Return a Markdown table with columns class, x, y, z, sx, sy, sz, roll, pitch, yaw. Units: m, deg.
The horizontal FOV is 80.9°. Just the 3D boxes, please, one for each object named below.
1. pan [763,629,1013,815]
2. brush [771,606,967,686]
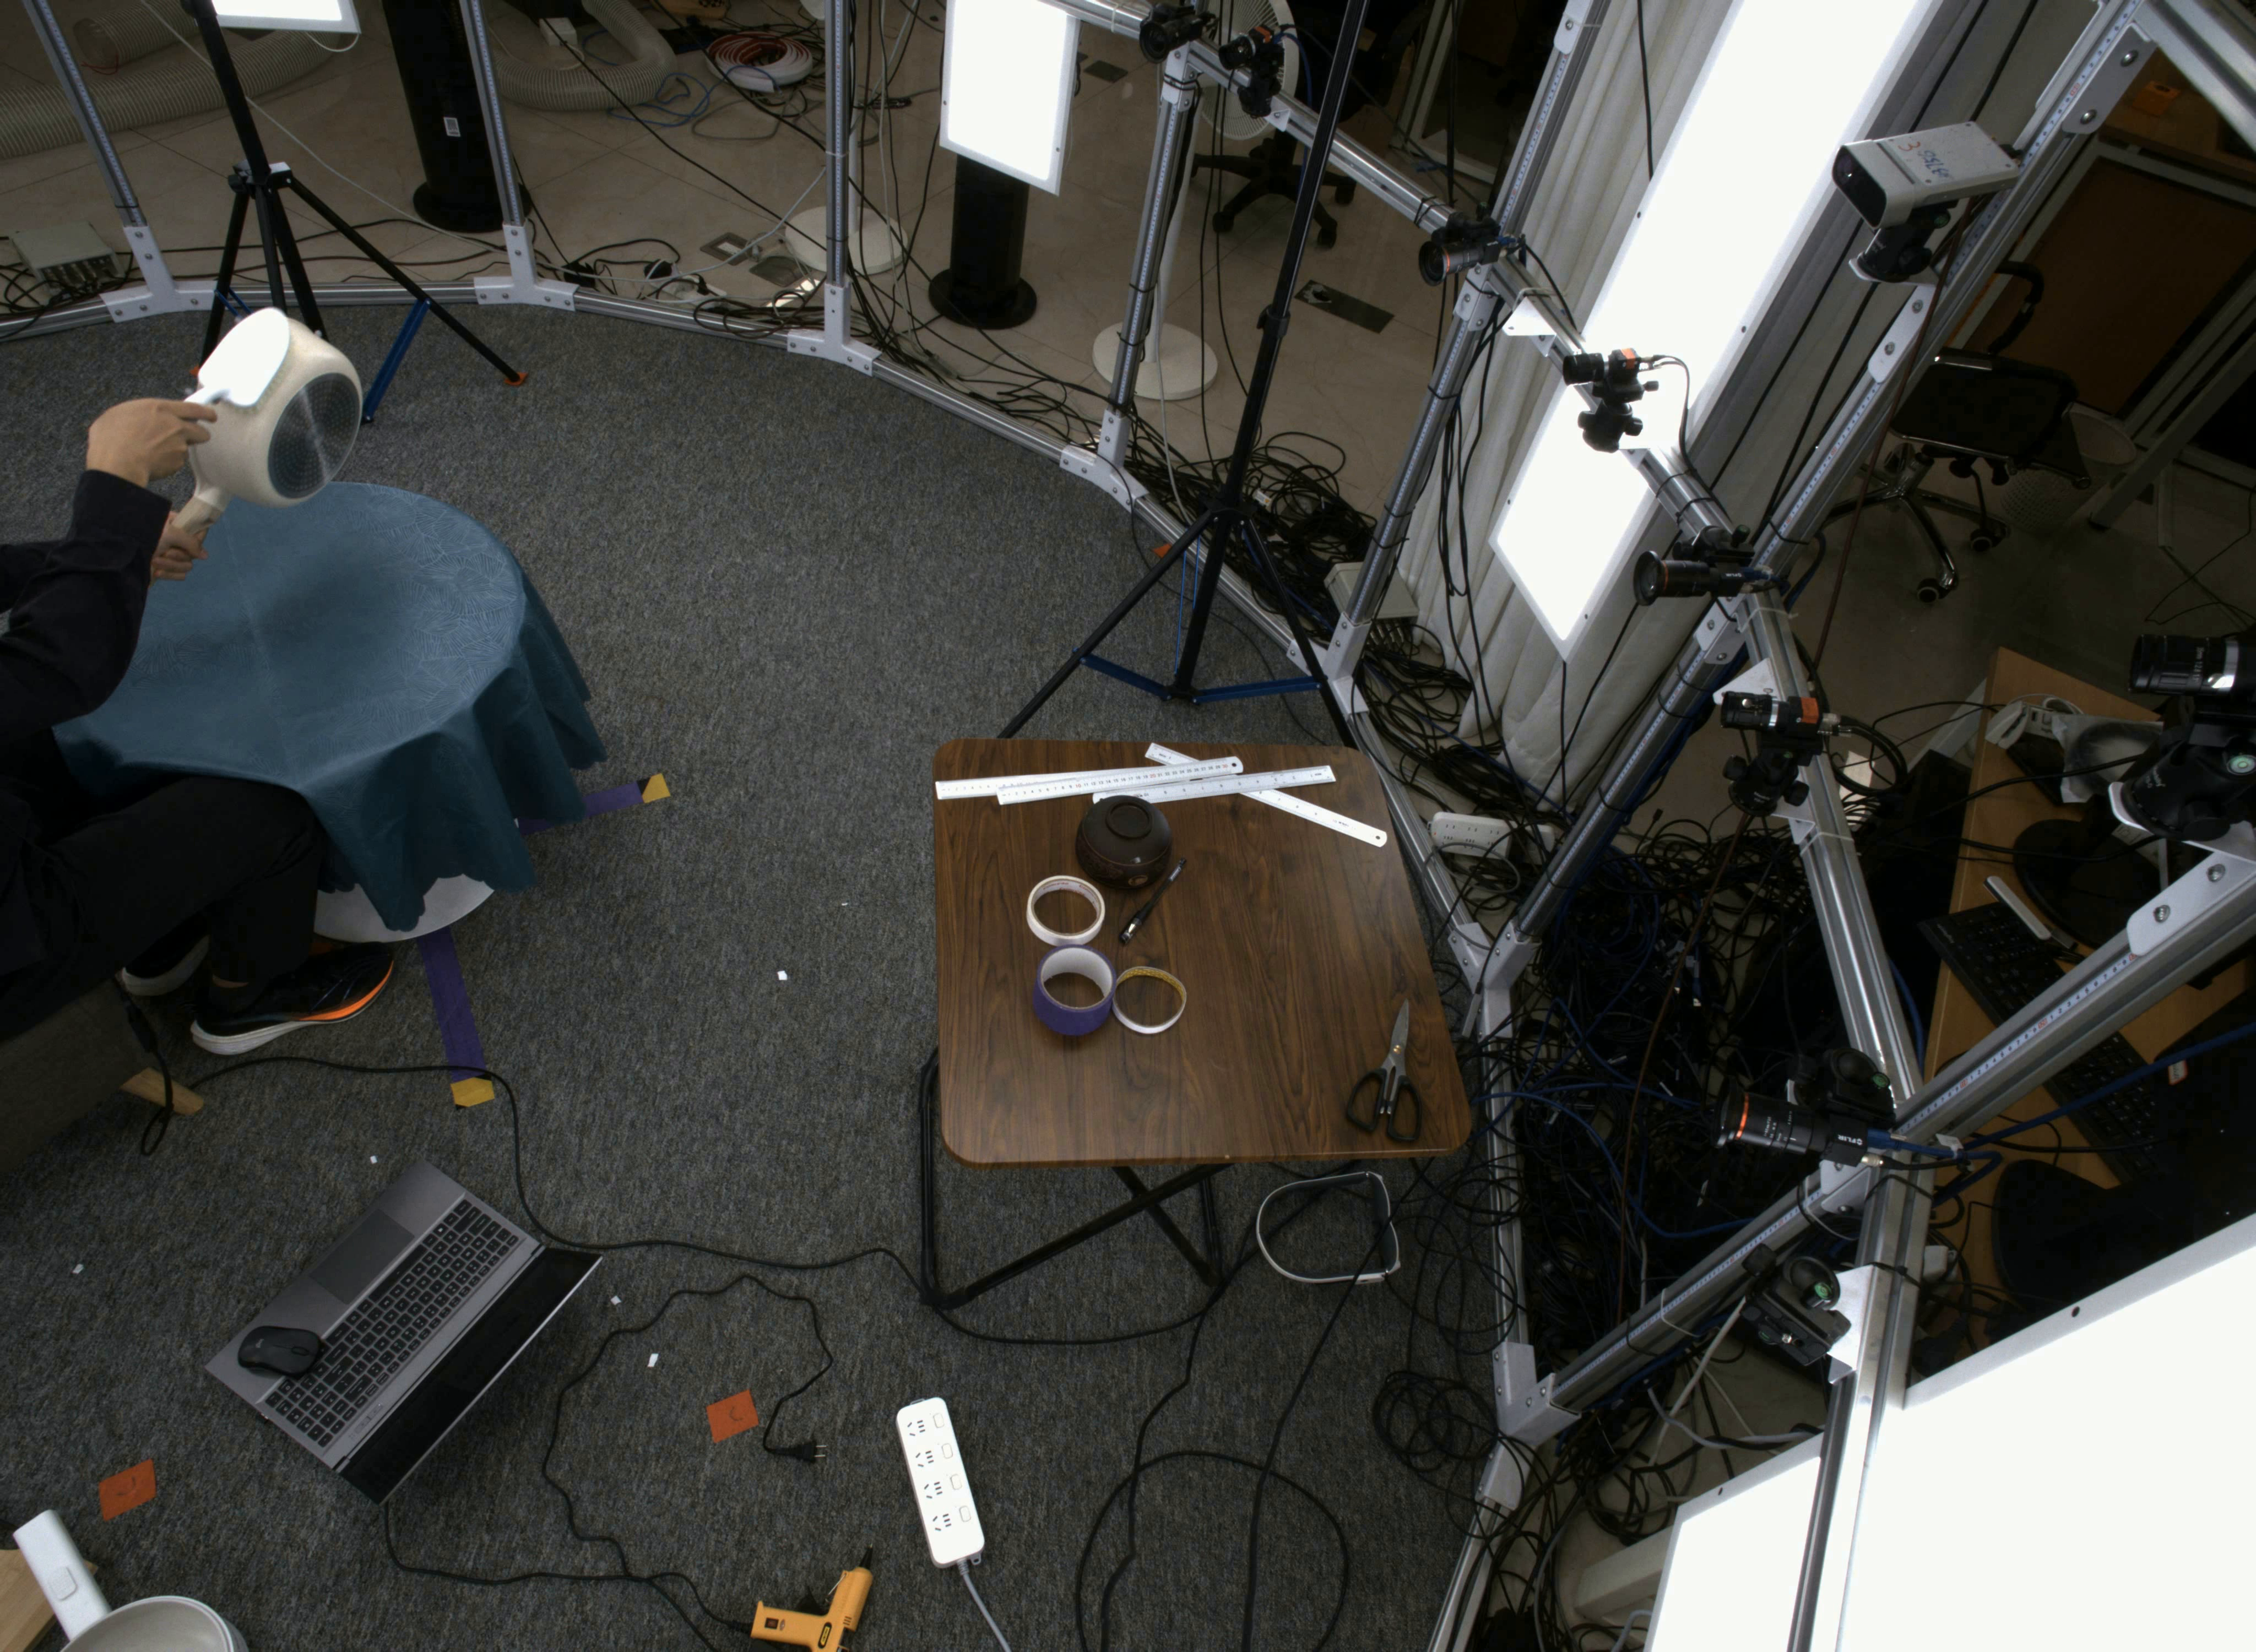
| class | x | y | z | sx | sy | sz | roll | pitch | yaw |
| --- | --- | --- | --- | --- | --- | --- | --- | --- | --- |
| pan | -0.362 | -0.128 | 2.022 | 0.435 | 0.273 | 0.098 | -37 | 55 | -17 |
| brush | -0.373 | -0.241 | 1.879 | 0.327 | 0.087 | 0.080 | -27 | 24 | -34 |
